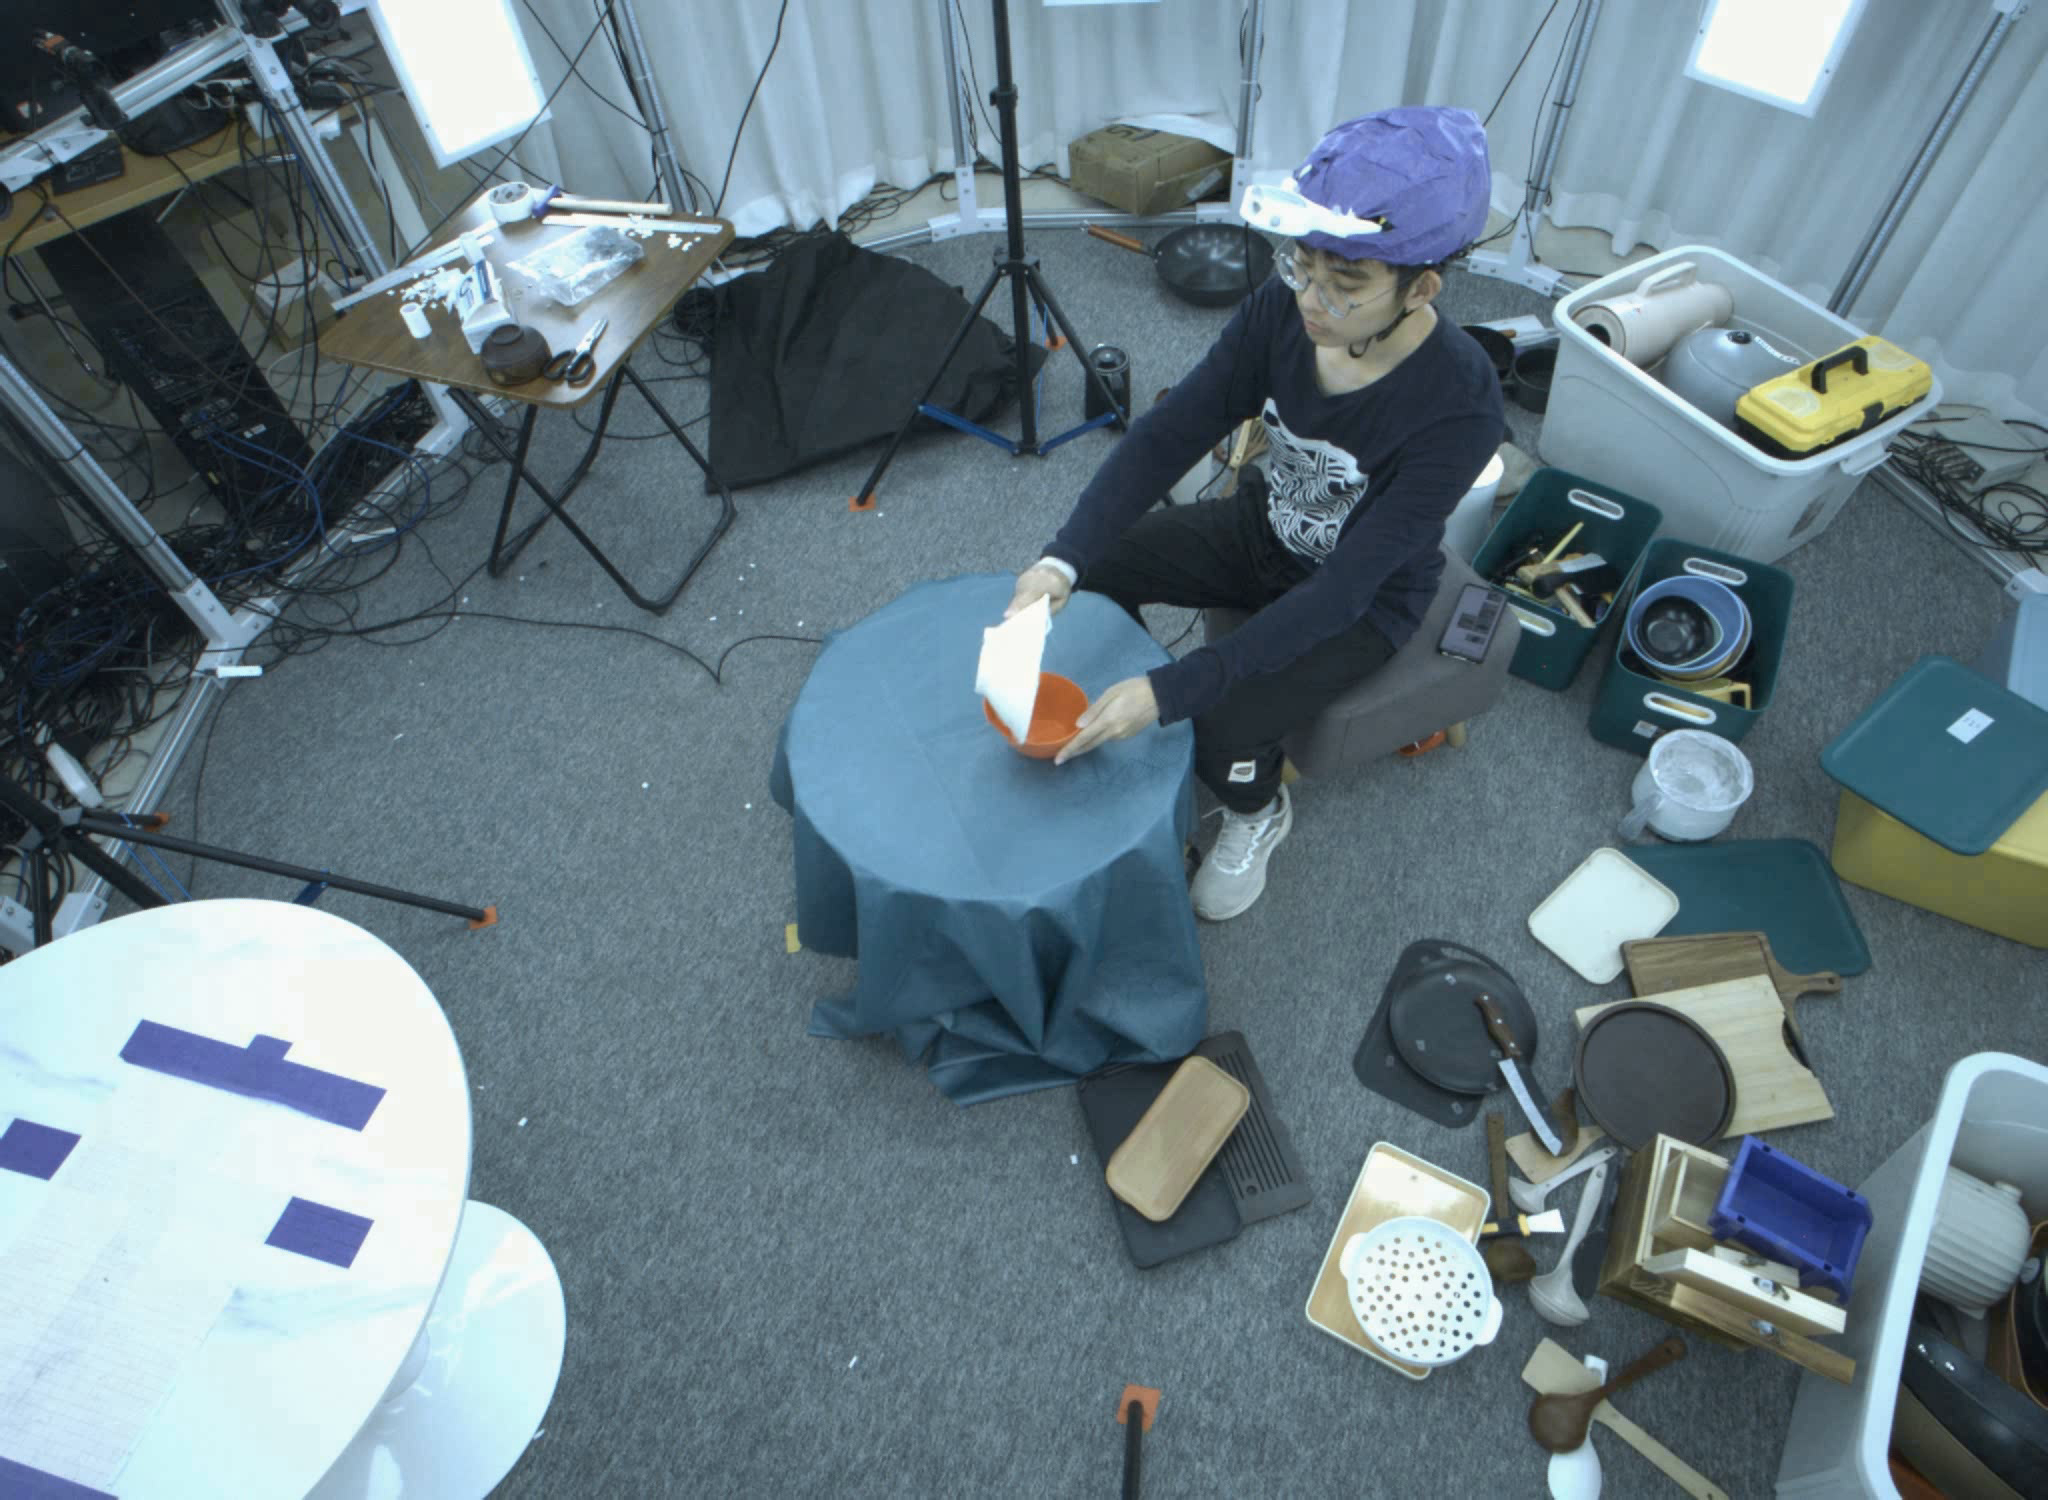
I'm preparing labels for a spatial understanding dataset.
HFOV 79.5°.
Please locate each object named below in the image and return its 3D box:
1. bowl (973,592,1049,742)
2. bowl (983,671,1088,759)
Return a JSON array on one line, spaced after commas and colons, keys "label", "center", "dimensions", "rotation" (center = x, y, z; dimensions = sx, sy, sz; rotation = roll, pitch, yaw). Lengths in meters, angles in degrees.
[{"label": "bowl", "center": [-0.023, -0.116, 1.640], "dimensions": [0.078, 0.205, 0.202], "rotation": [9, 55, -4]}, {"label": "bowl", "center": [0.018, -0.037, 1.760], "dimensions": [0.148, 0.105, 0.146], "rotation": [0, 53, 1]}]
